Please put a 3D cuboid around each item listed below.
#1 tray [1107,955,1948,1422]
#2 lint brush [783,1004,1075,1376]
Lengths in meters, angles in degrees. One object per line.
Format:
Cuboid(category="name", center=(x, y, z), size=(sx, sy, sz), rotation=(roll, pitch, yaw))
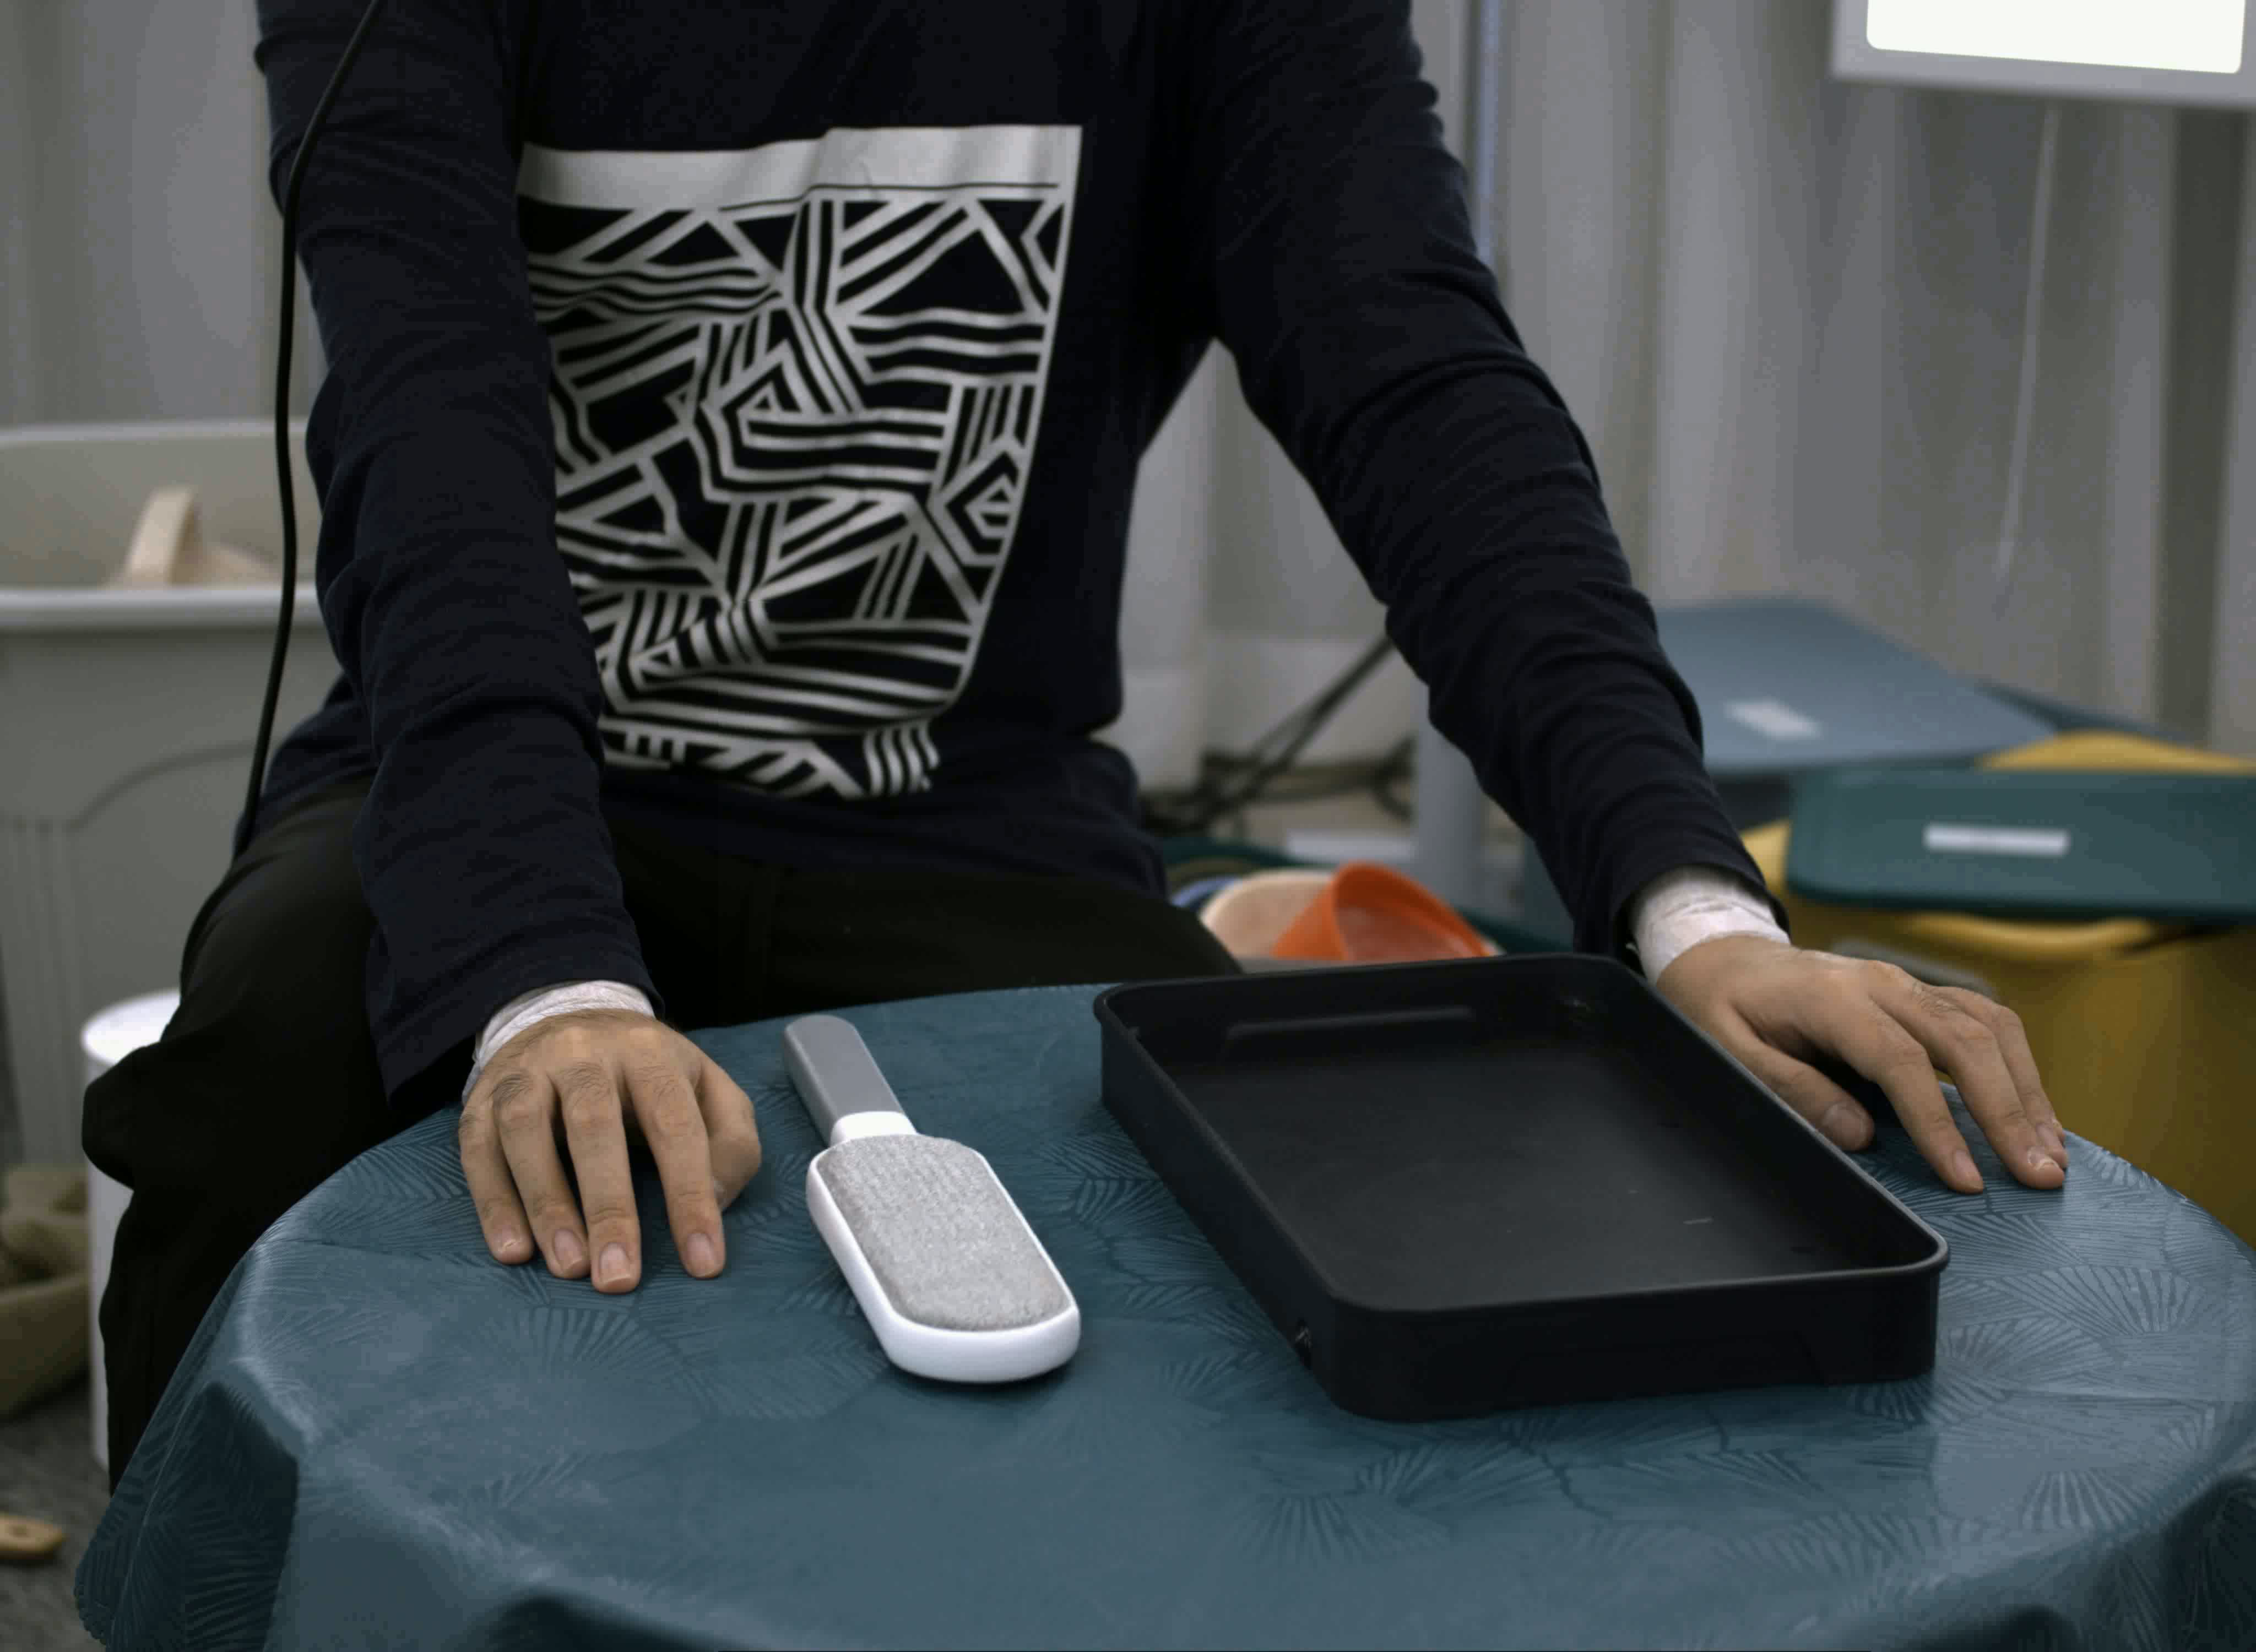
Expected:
Cuboid(category="tray", center=(0.111, 0.104, 1.595), size=(0.184, 0.037, 0.315), rotation=(-3, 16, -12))
Cuboid(category="lint brush", center=(-0.069, 0.106, 1.596), size=(0.060, 0.021, 0.306), rotation=(-8, 17, -11))
